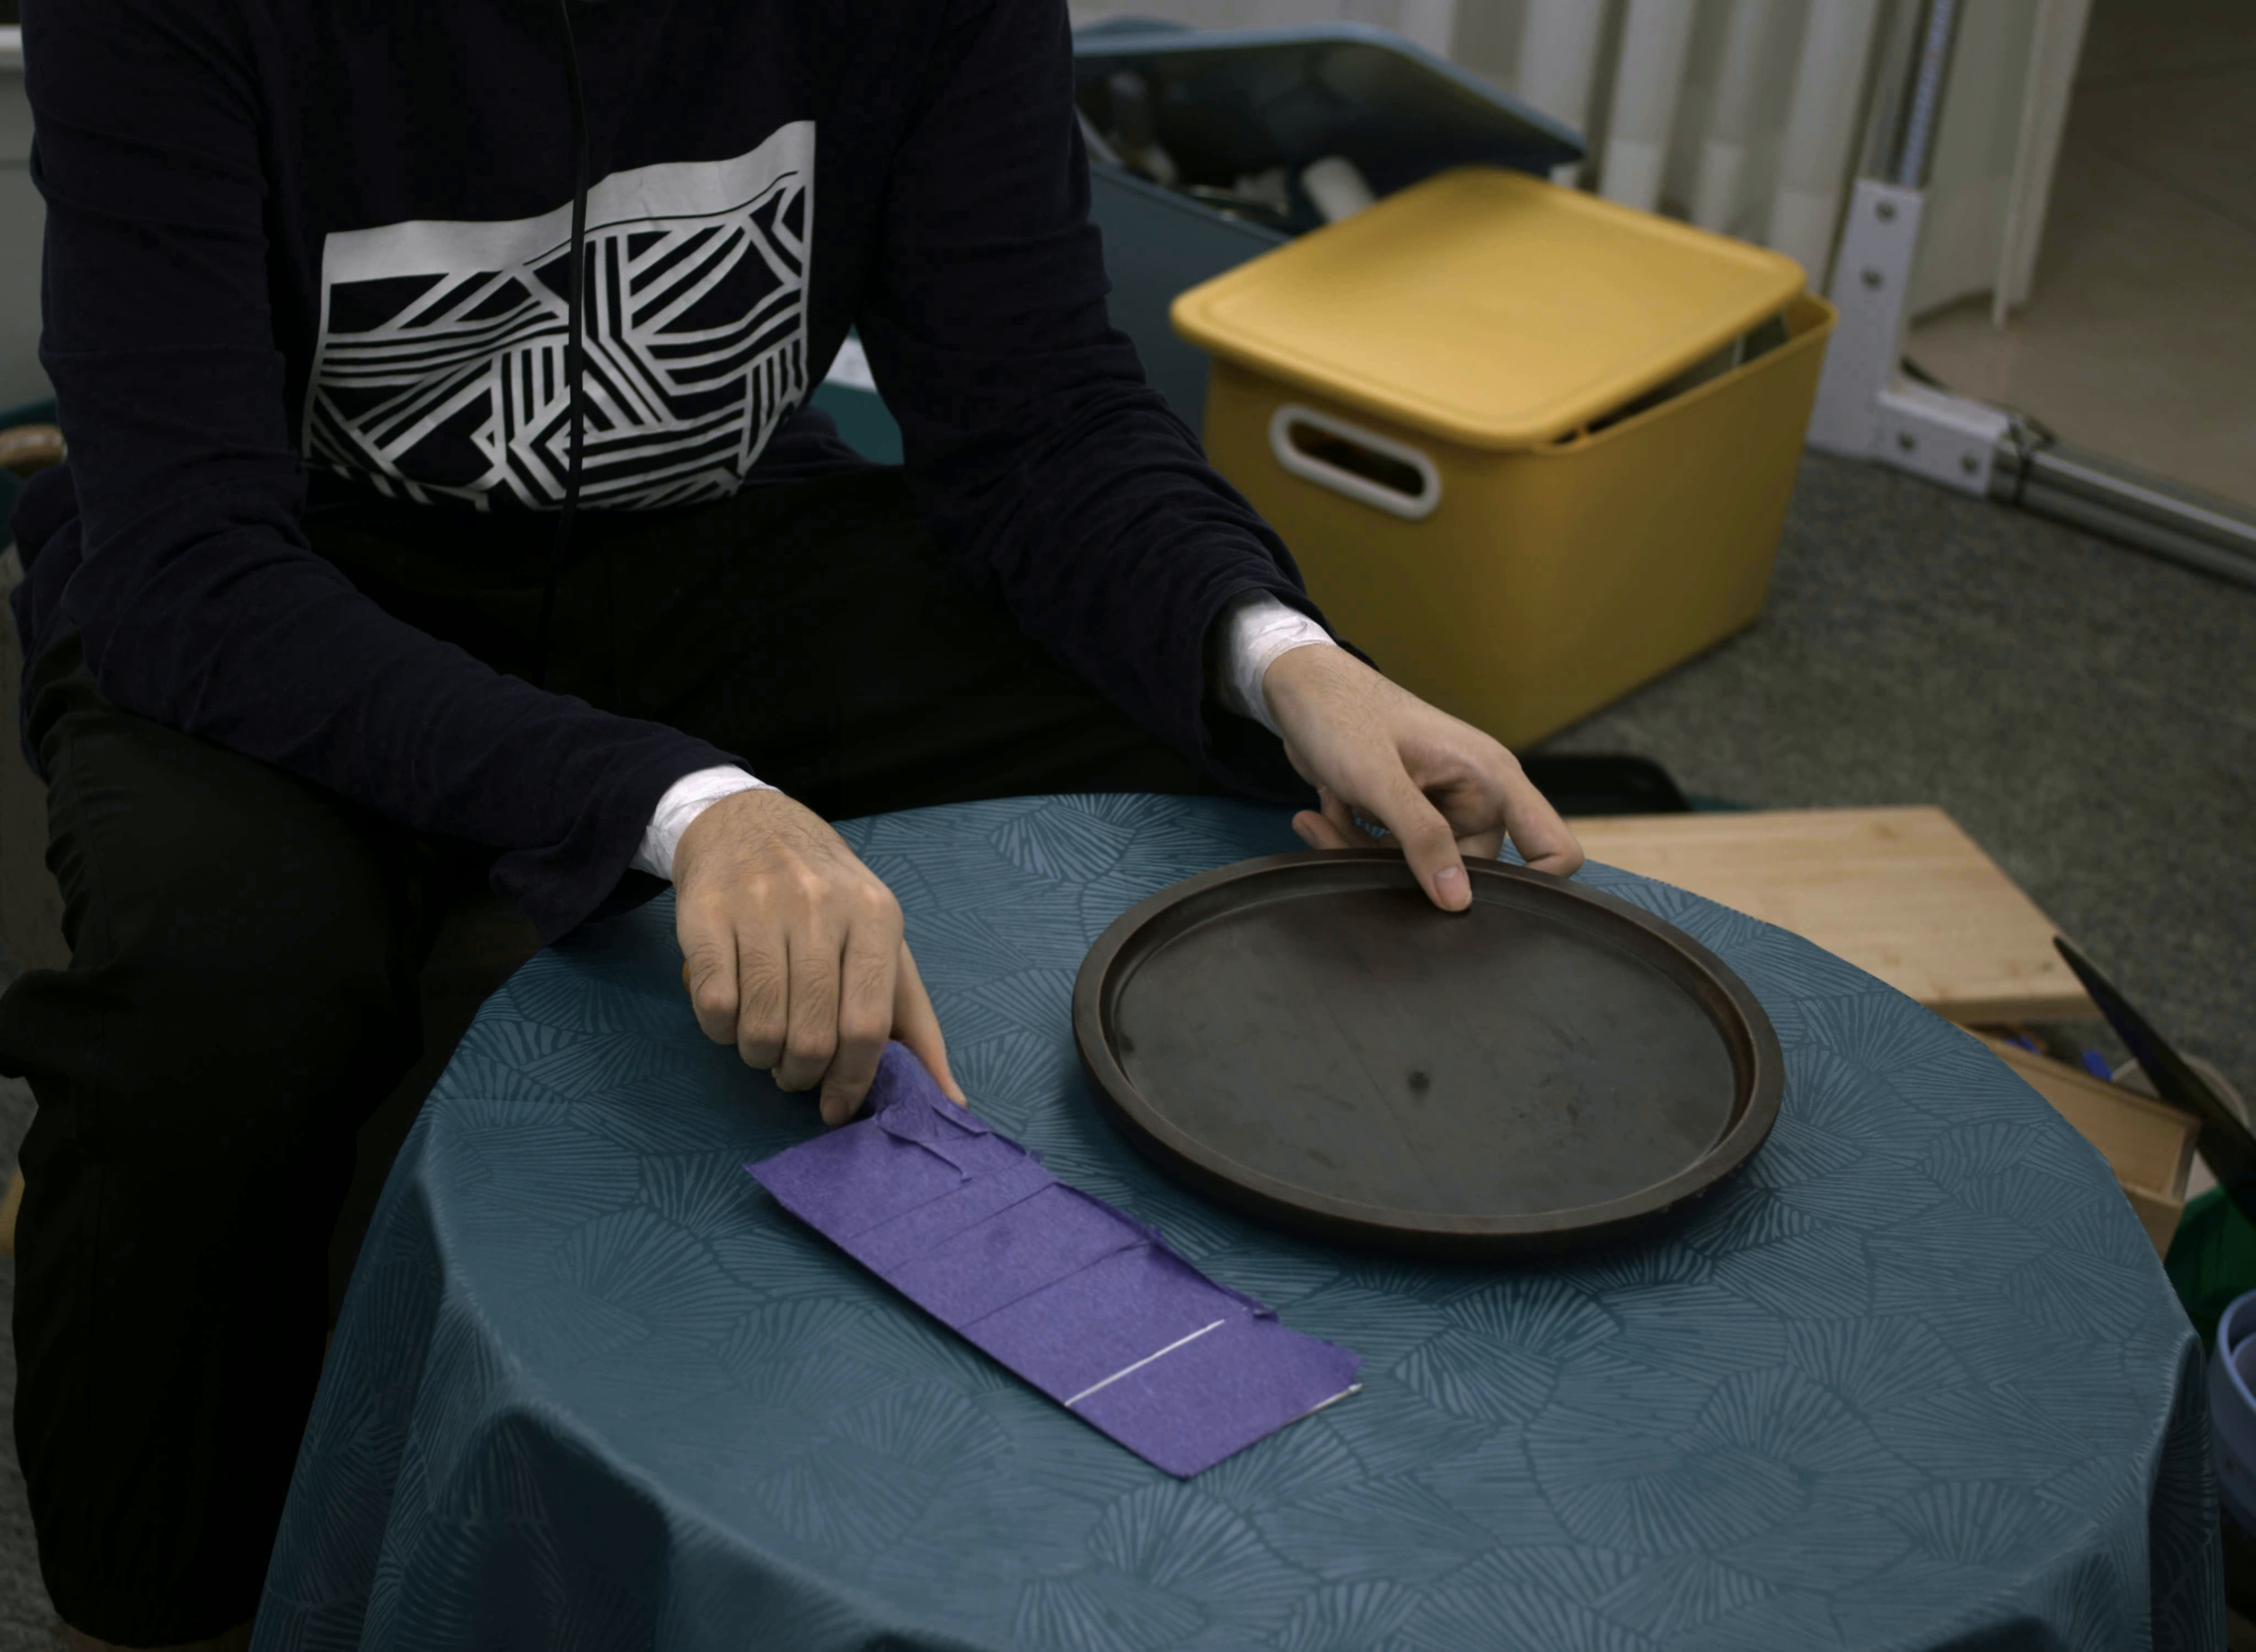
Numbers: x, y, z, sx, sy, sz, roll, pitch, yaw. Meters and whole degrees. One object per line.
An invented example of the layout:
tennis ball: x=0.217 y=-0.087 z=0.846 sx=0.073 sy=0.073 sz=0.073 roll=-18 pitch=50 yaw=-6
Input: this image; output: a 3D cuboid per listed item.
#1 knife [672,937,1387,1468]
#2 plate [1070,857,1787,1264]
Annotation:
knife: x=-0.060 y=0.121 z=1.767 sx=0.317 sy=0.032 sz=0.103 roll=29 pitch=34 yaw=36
plate: x=0.105 y=0.080 z=1.875 sx=0.254 sy=0.029 sz=0.256 roll=4 pitch=30 yaw=-3
